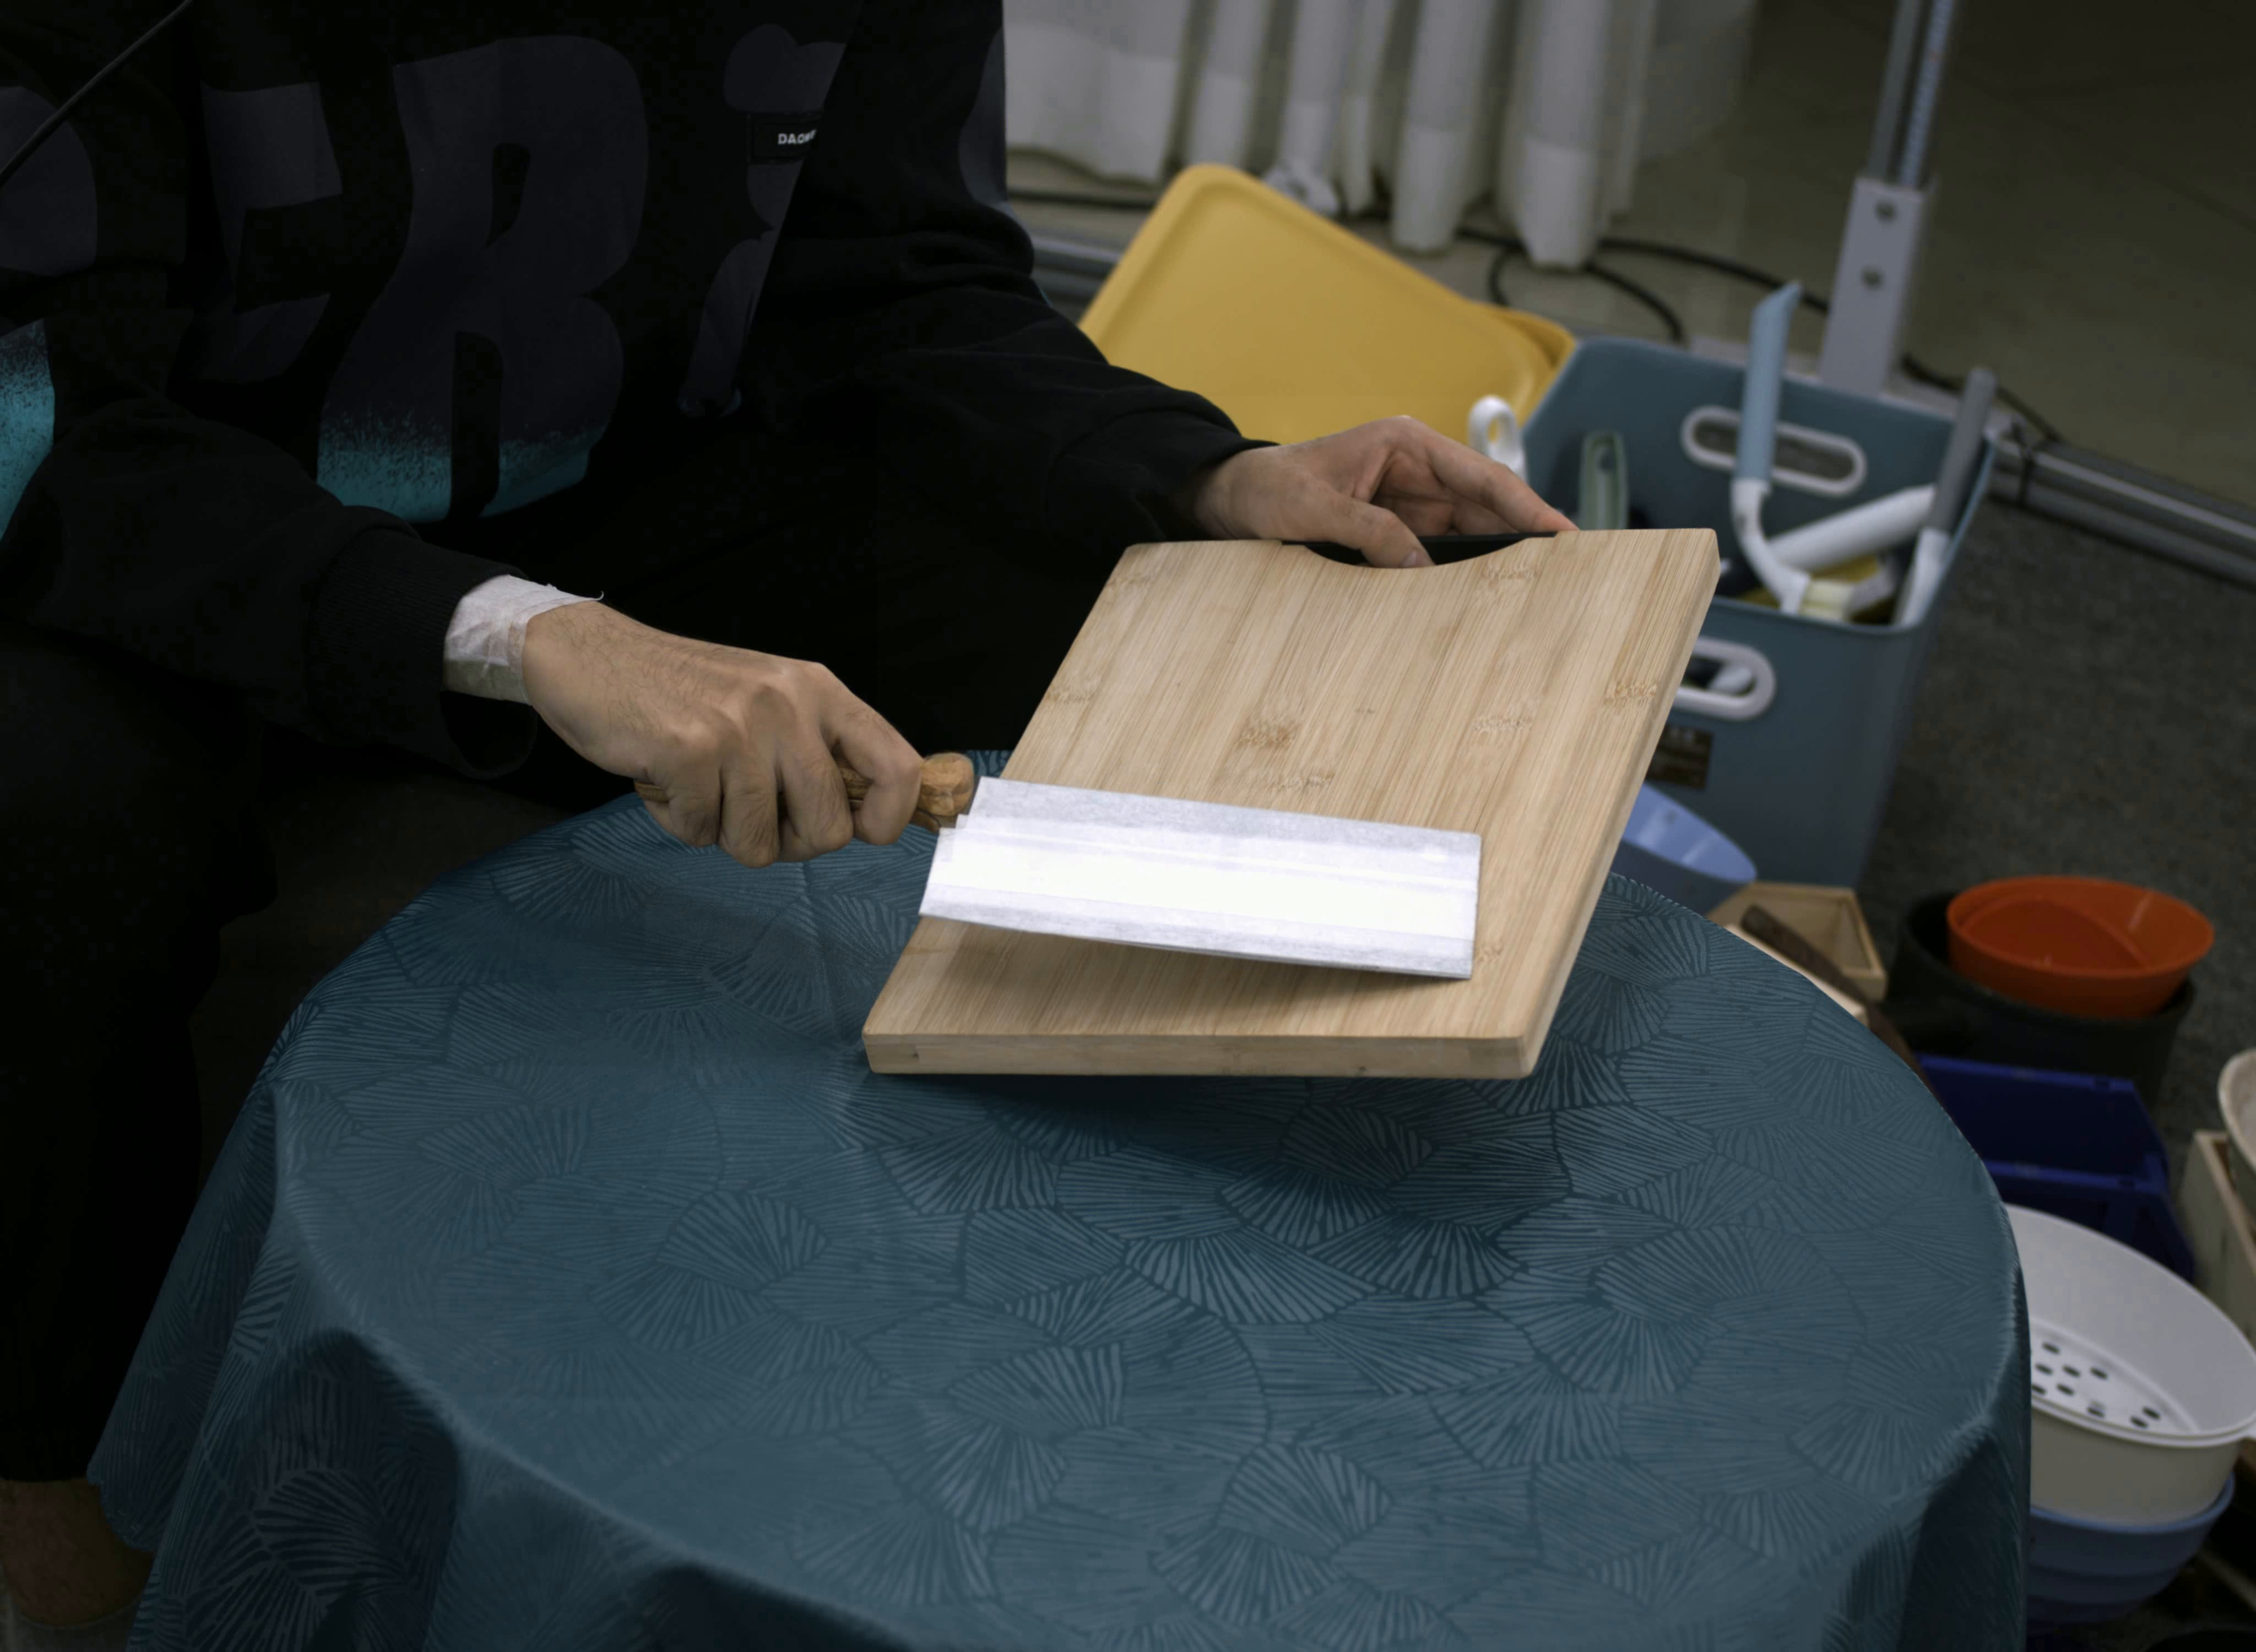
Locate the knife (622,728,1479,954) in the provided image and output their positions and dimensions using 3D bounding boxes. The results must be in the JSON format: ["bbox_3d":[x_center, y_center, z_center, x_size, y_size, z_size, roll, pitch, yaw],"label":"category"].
[{"bbox_3d":[-0.030,0.009,1.847,0.305,0.021,0.093,6,35,3],"label":"knife"}]

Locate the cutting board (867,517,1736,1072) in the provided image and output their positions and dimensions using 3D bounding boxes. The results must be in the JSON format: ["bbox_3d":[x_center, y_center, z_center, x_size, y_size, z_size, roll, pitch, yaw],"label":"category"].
[{"bbox_3d":[0.071,-0.015,1.950,0.251,0.023,0.350,-1,32,19],"label":"cutting board"}]
